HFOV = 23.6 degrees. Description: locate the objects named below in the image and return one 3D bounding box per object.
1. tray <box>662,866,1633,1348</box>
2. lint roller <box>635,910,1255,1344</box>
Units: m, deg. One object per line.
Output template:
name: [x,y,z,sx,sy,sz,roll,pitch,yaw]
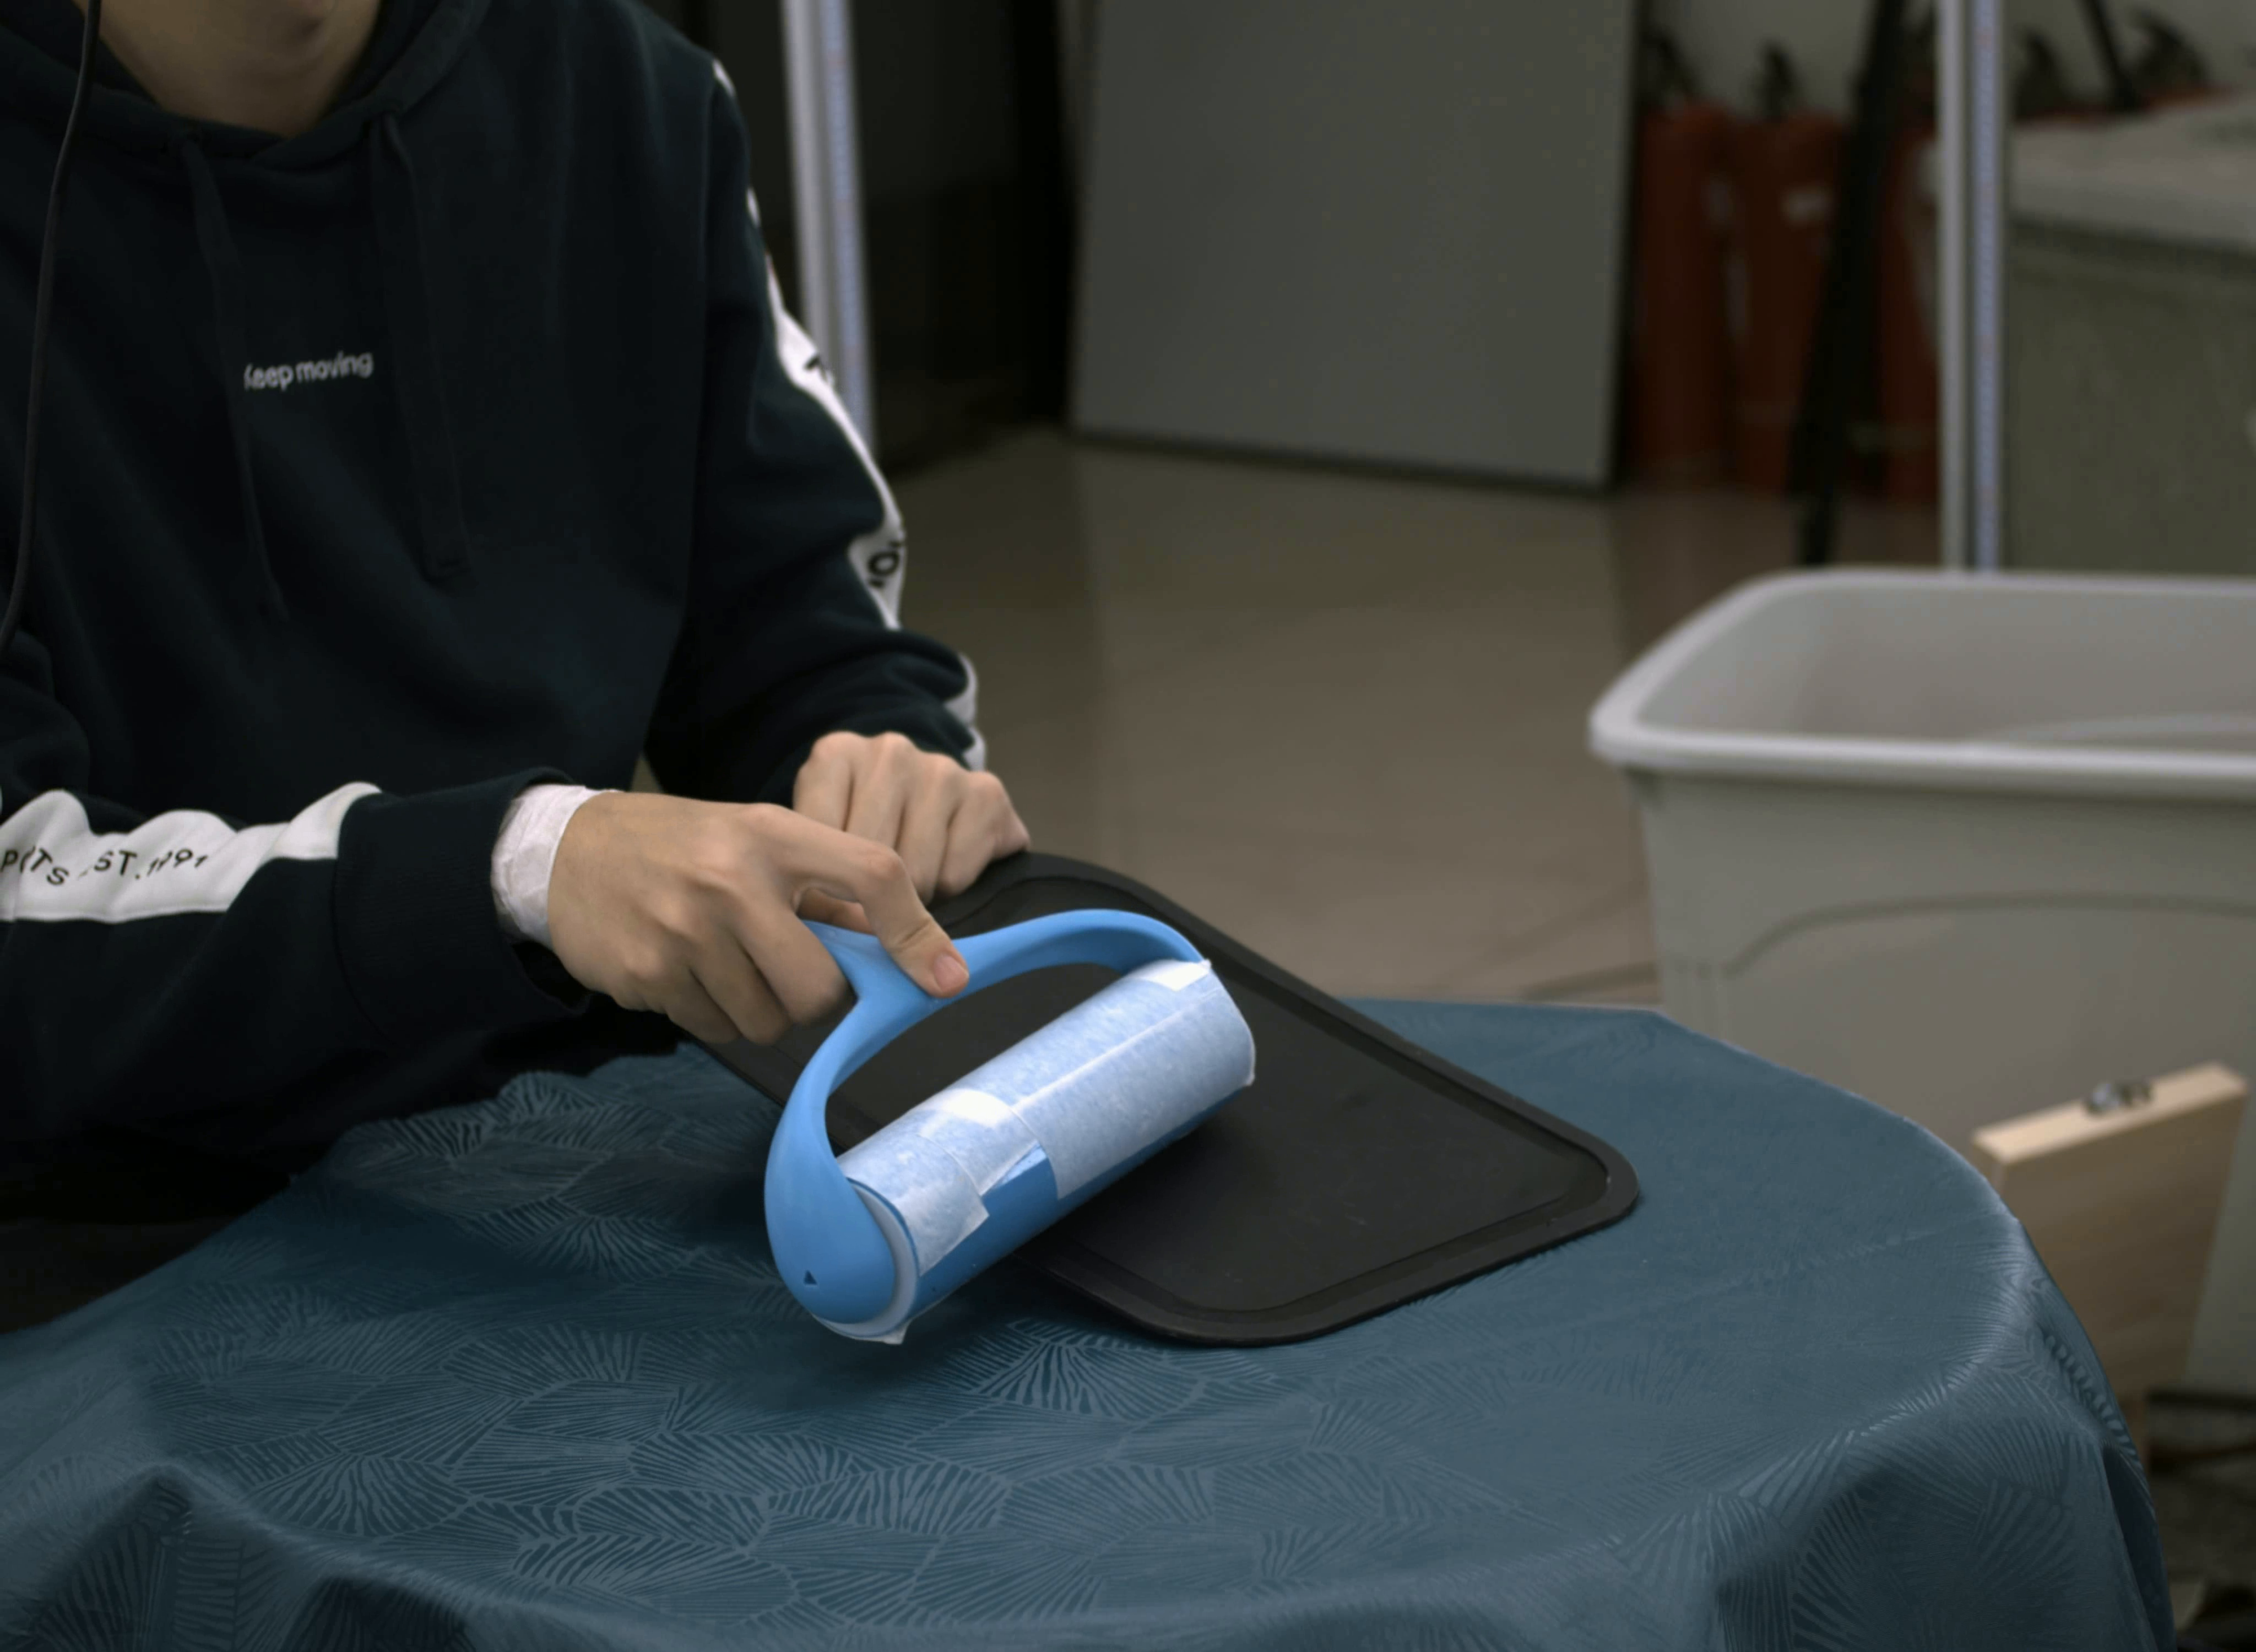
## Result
tray: [-0.002,0.082,1.770,0.206,0.010,0.329,-16,32,-39]
lint roller: [-0.079,0.069,1.696,0.181,0.068,0.226,30,35,19]
